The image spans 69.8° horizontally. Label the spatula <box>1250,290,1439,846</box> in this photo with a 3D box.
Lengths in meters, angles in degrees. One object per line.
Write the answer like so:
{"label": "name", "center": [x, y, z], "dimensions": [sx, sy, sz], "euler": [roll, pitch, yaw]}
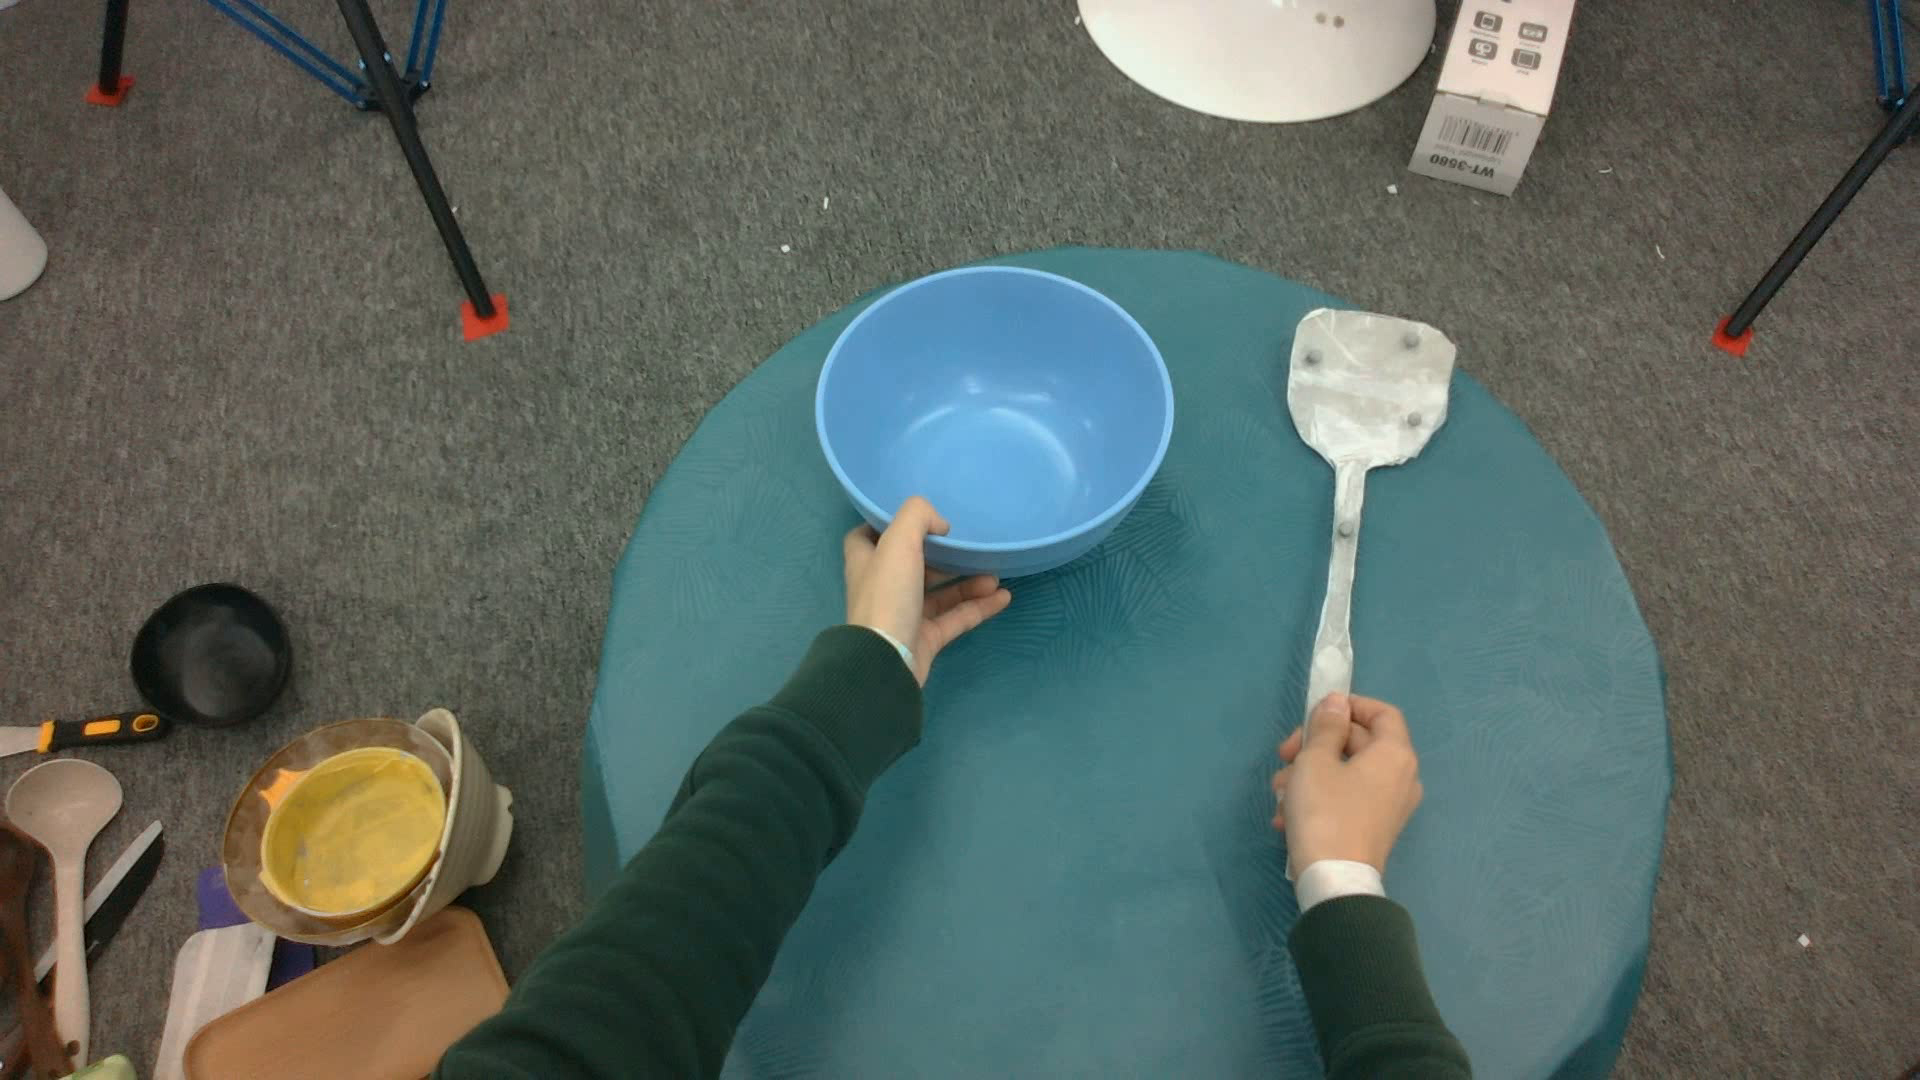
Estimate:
{"label": "spatula", "center": [0.208, 0.002, 0.785], "dimensions": [0.098, 0.044, 0.366], "euler": [14, 56, 6]}

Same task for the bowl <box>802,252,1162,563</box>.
{"label": "bowl", "center": [0.012, -0.061, 0.787], "dimensions": [0.196, 0.095, 0.197], "euler": [1, 56, -1]}
